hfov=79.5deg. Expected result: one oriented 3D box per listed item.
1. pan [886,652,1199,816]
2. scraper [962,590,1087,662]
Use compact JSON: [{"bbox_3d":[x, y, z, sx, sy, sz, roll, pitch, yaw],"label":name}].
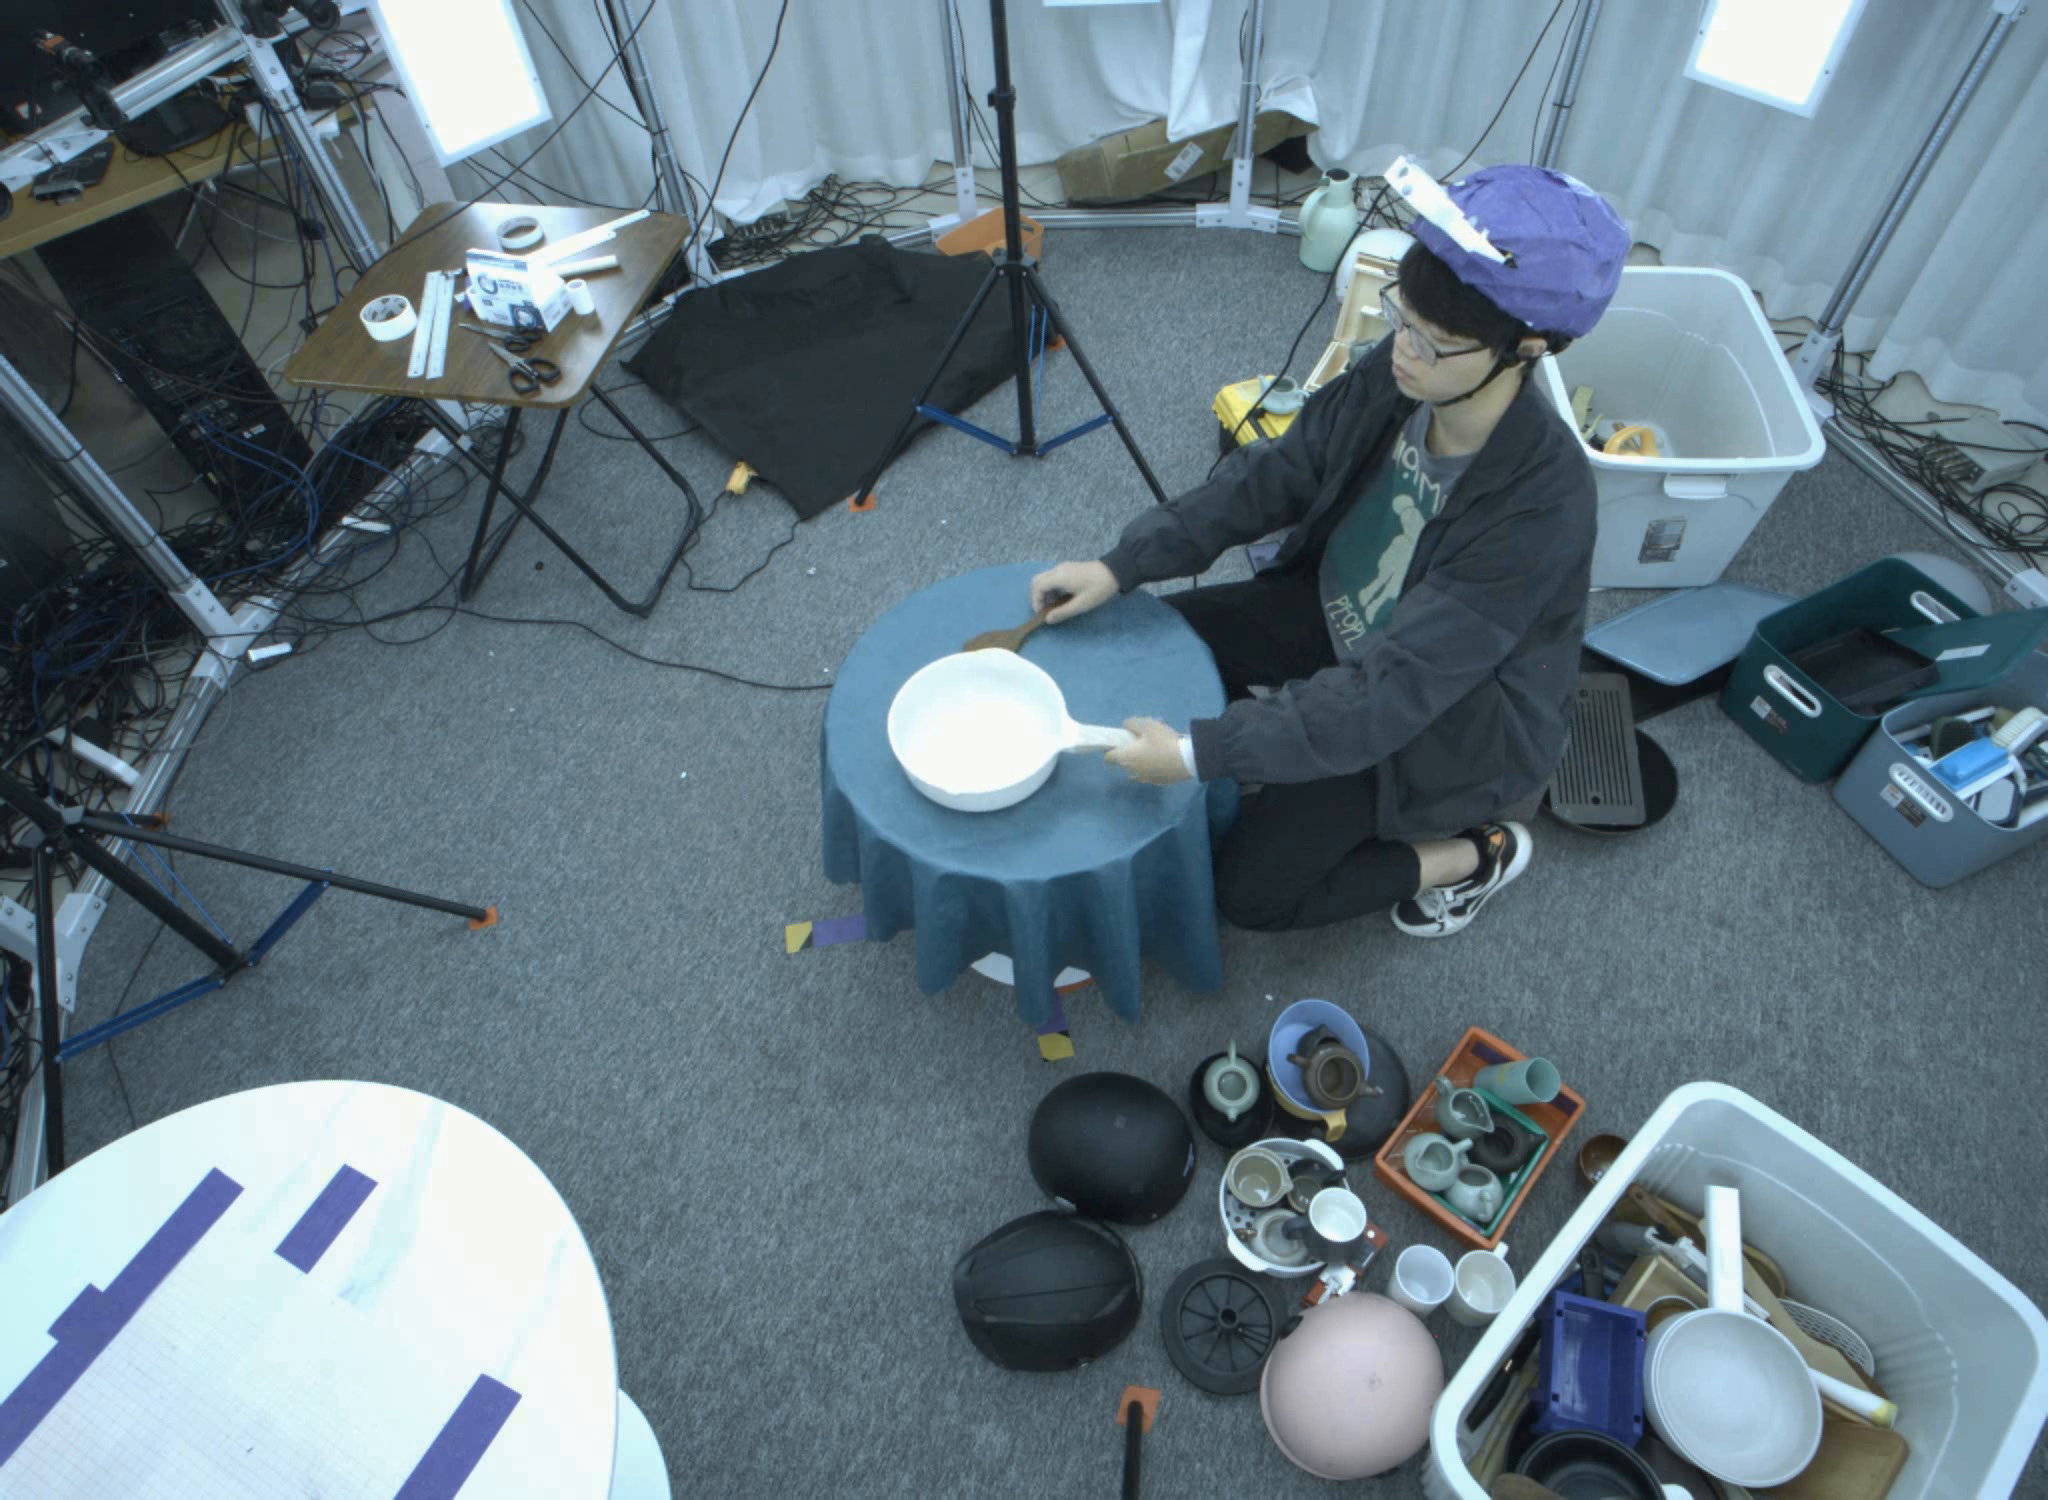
[{"bbox_3d":[0.025,-0.006,1.722,0.432,0.103,0.262,9,54,8],"label":"pan"},{"bbox_3d":[0.006,-0.189,1.899,0.212,0.011,0.074,-33,67,-14],"label":"scraper"}]
